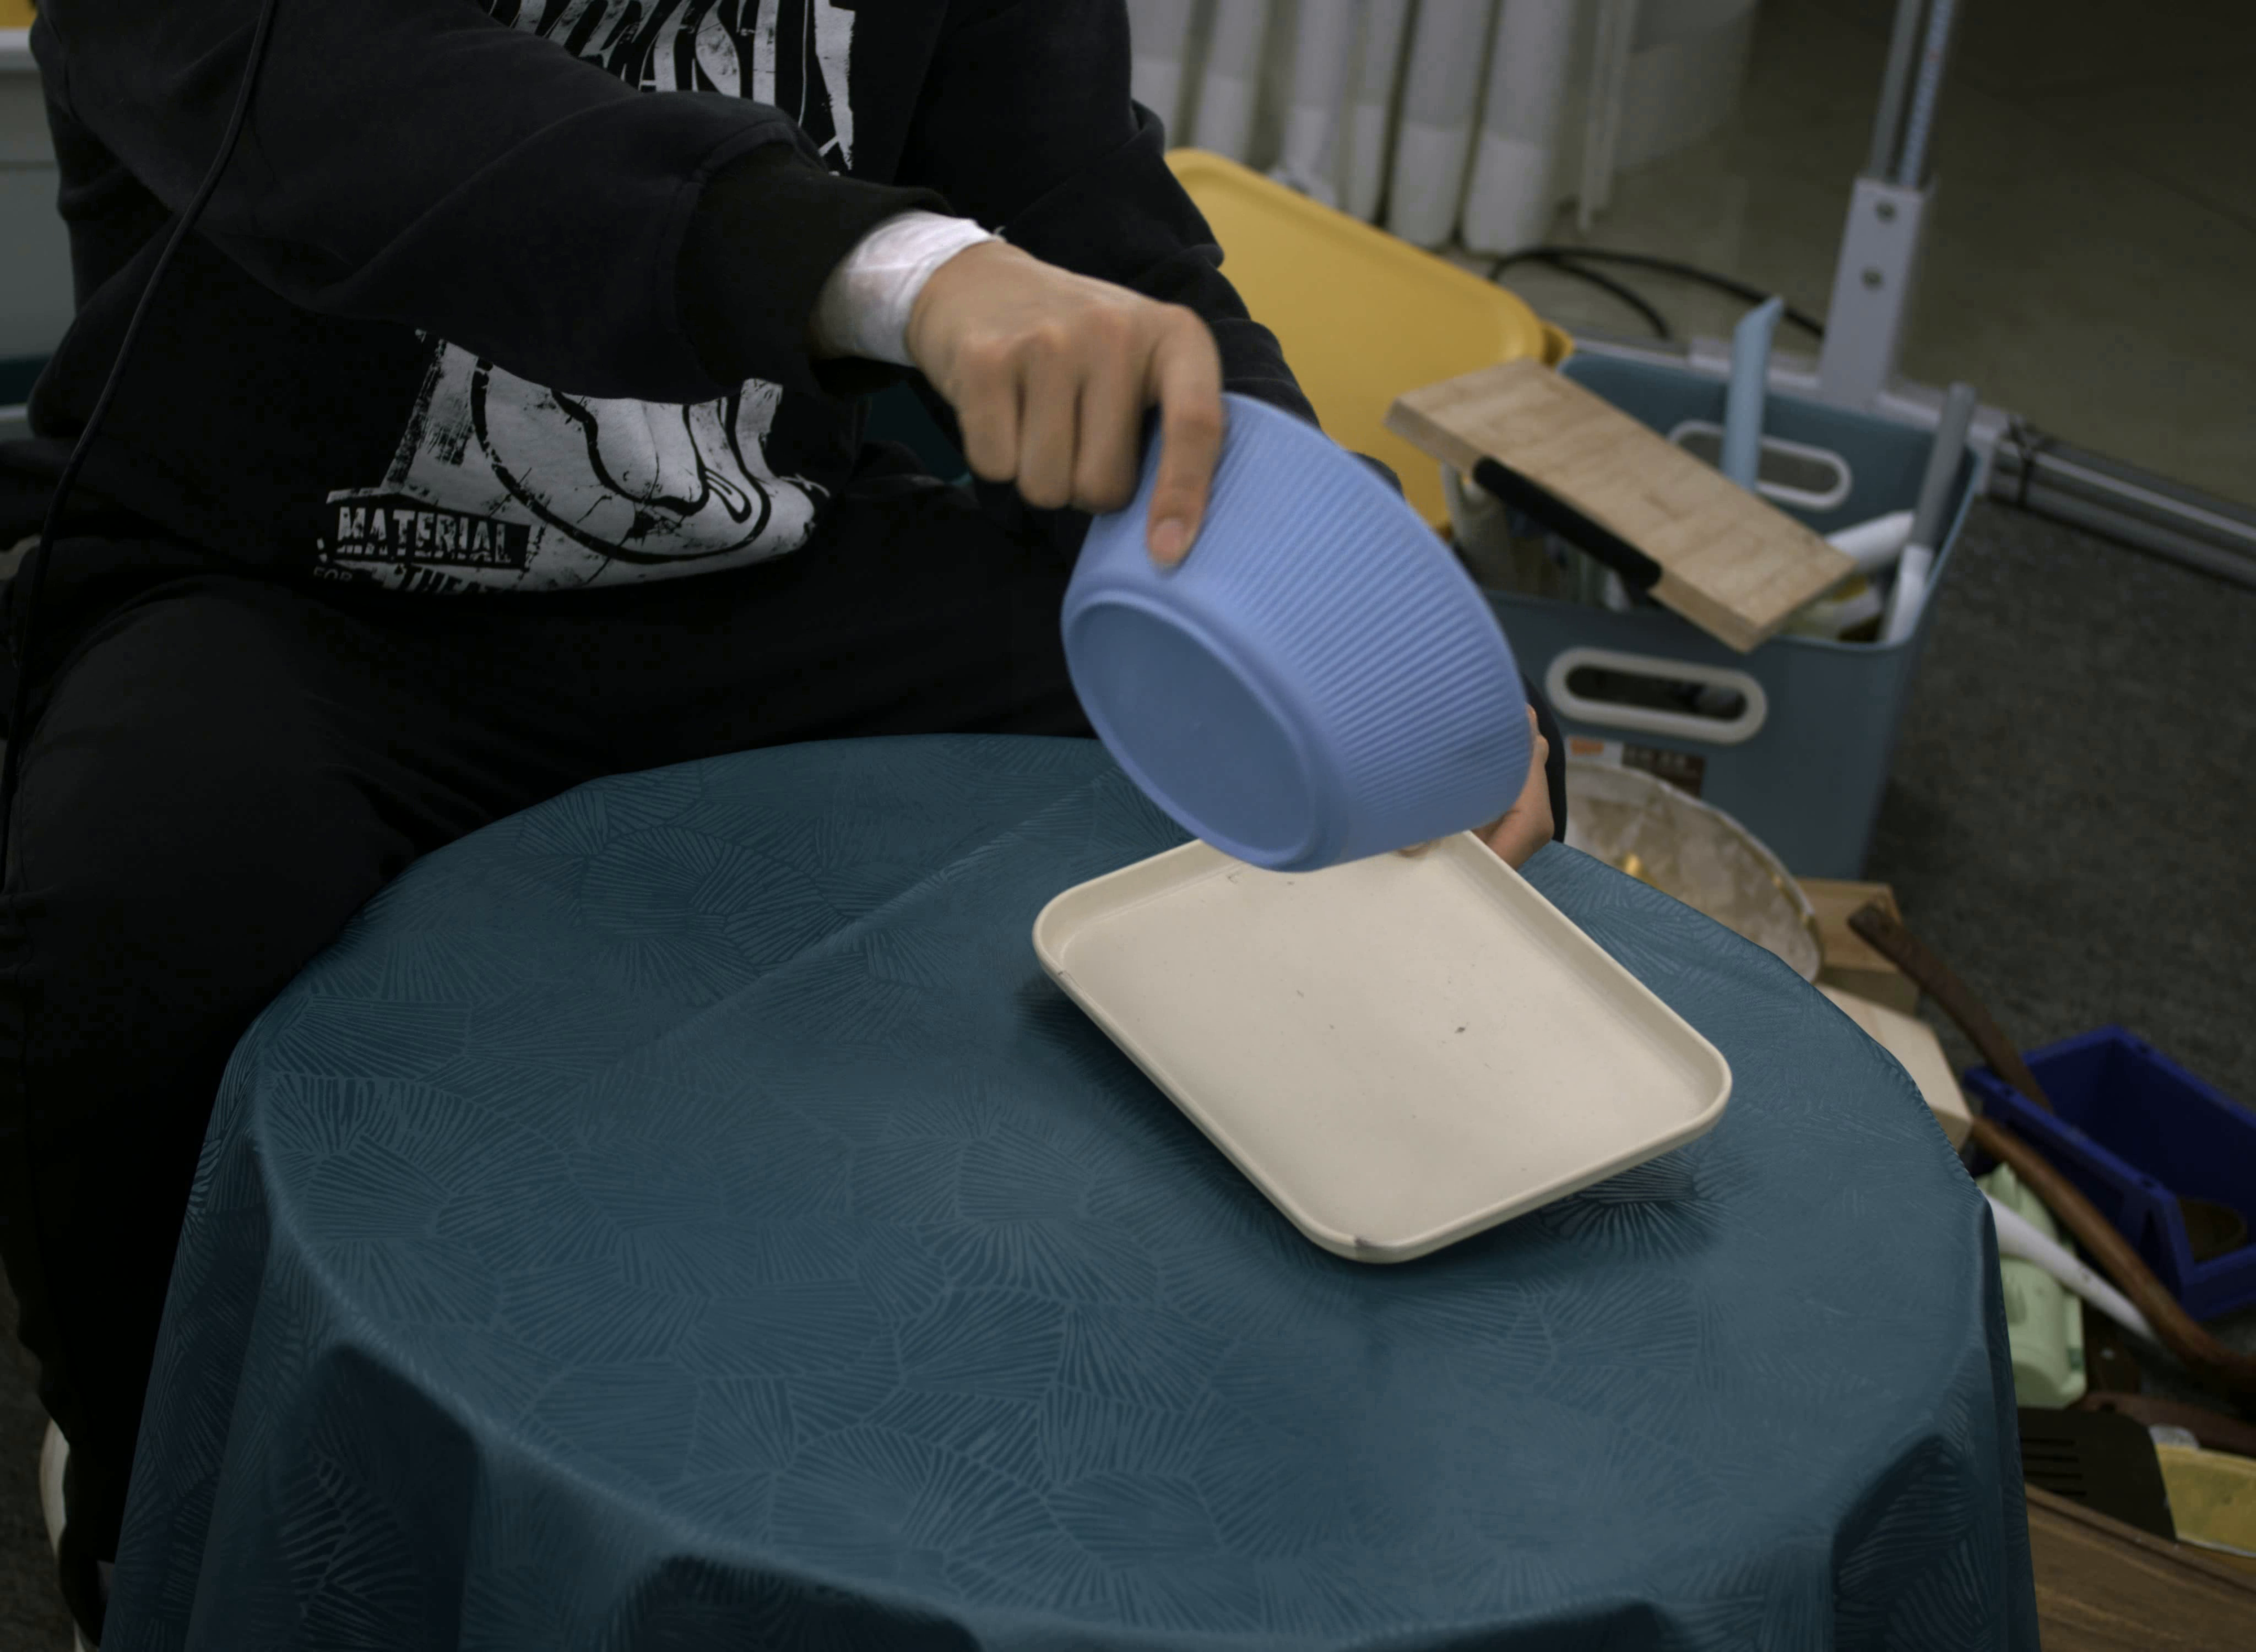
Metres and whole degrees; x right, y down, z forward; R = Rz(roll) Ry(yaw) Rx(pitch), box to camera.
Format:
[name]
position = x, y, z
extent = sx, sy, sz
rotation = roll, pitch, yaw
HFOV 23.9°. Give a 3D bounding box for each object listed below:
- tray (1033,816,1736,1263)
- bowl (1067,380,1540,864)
[tray]
position = 0.087, 0.068, 1.872
extent = 0.170, 0.017, 0.242
rotation = -20, 38, -23
[bowl]
position = 0.044, -0.053, 1.715
extent = 0.177, 0.175, 0.070
rotation = 28, 56, 35
